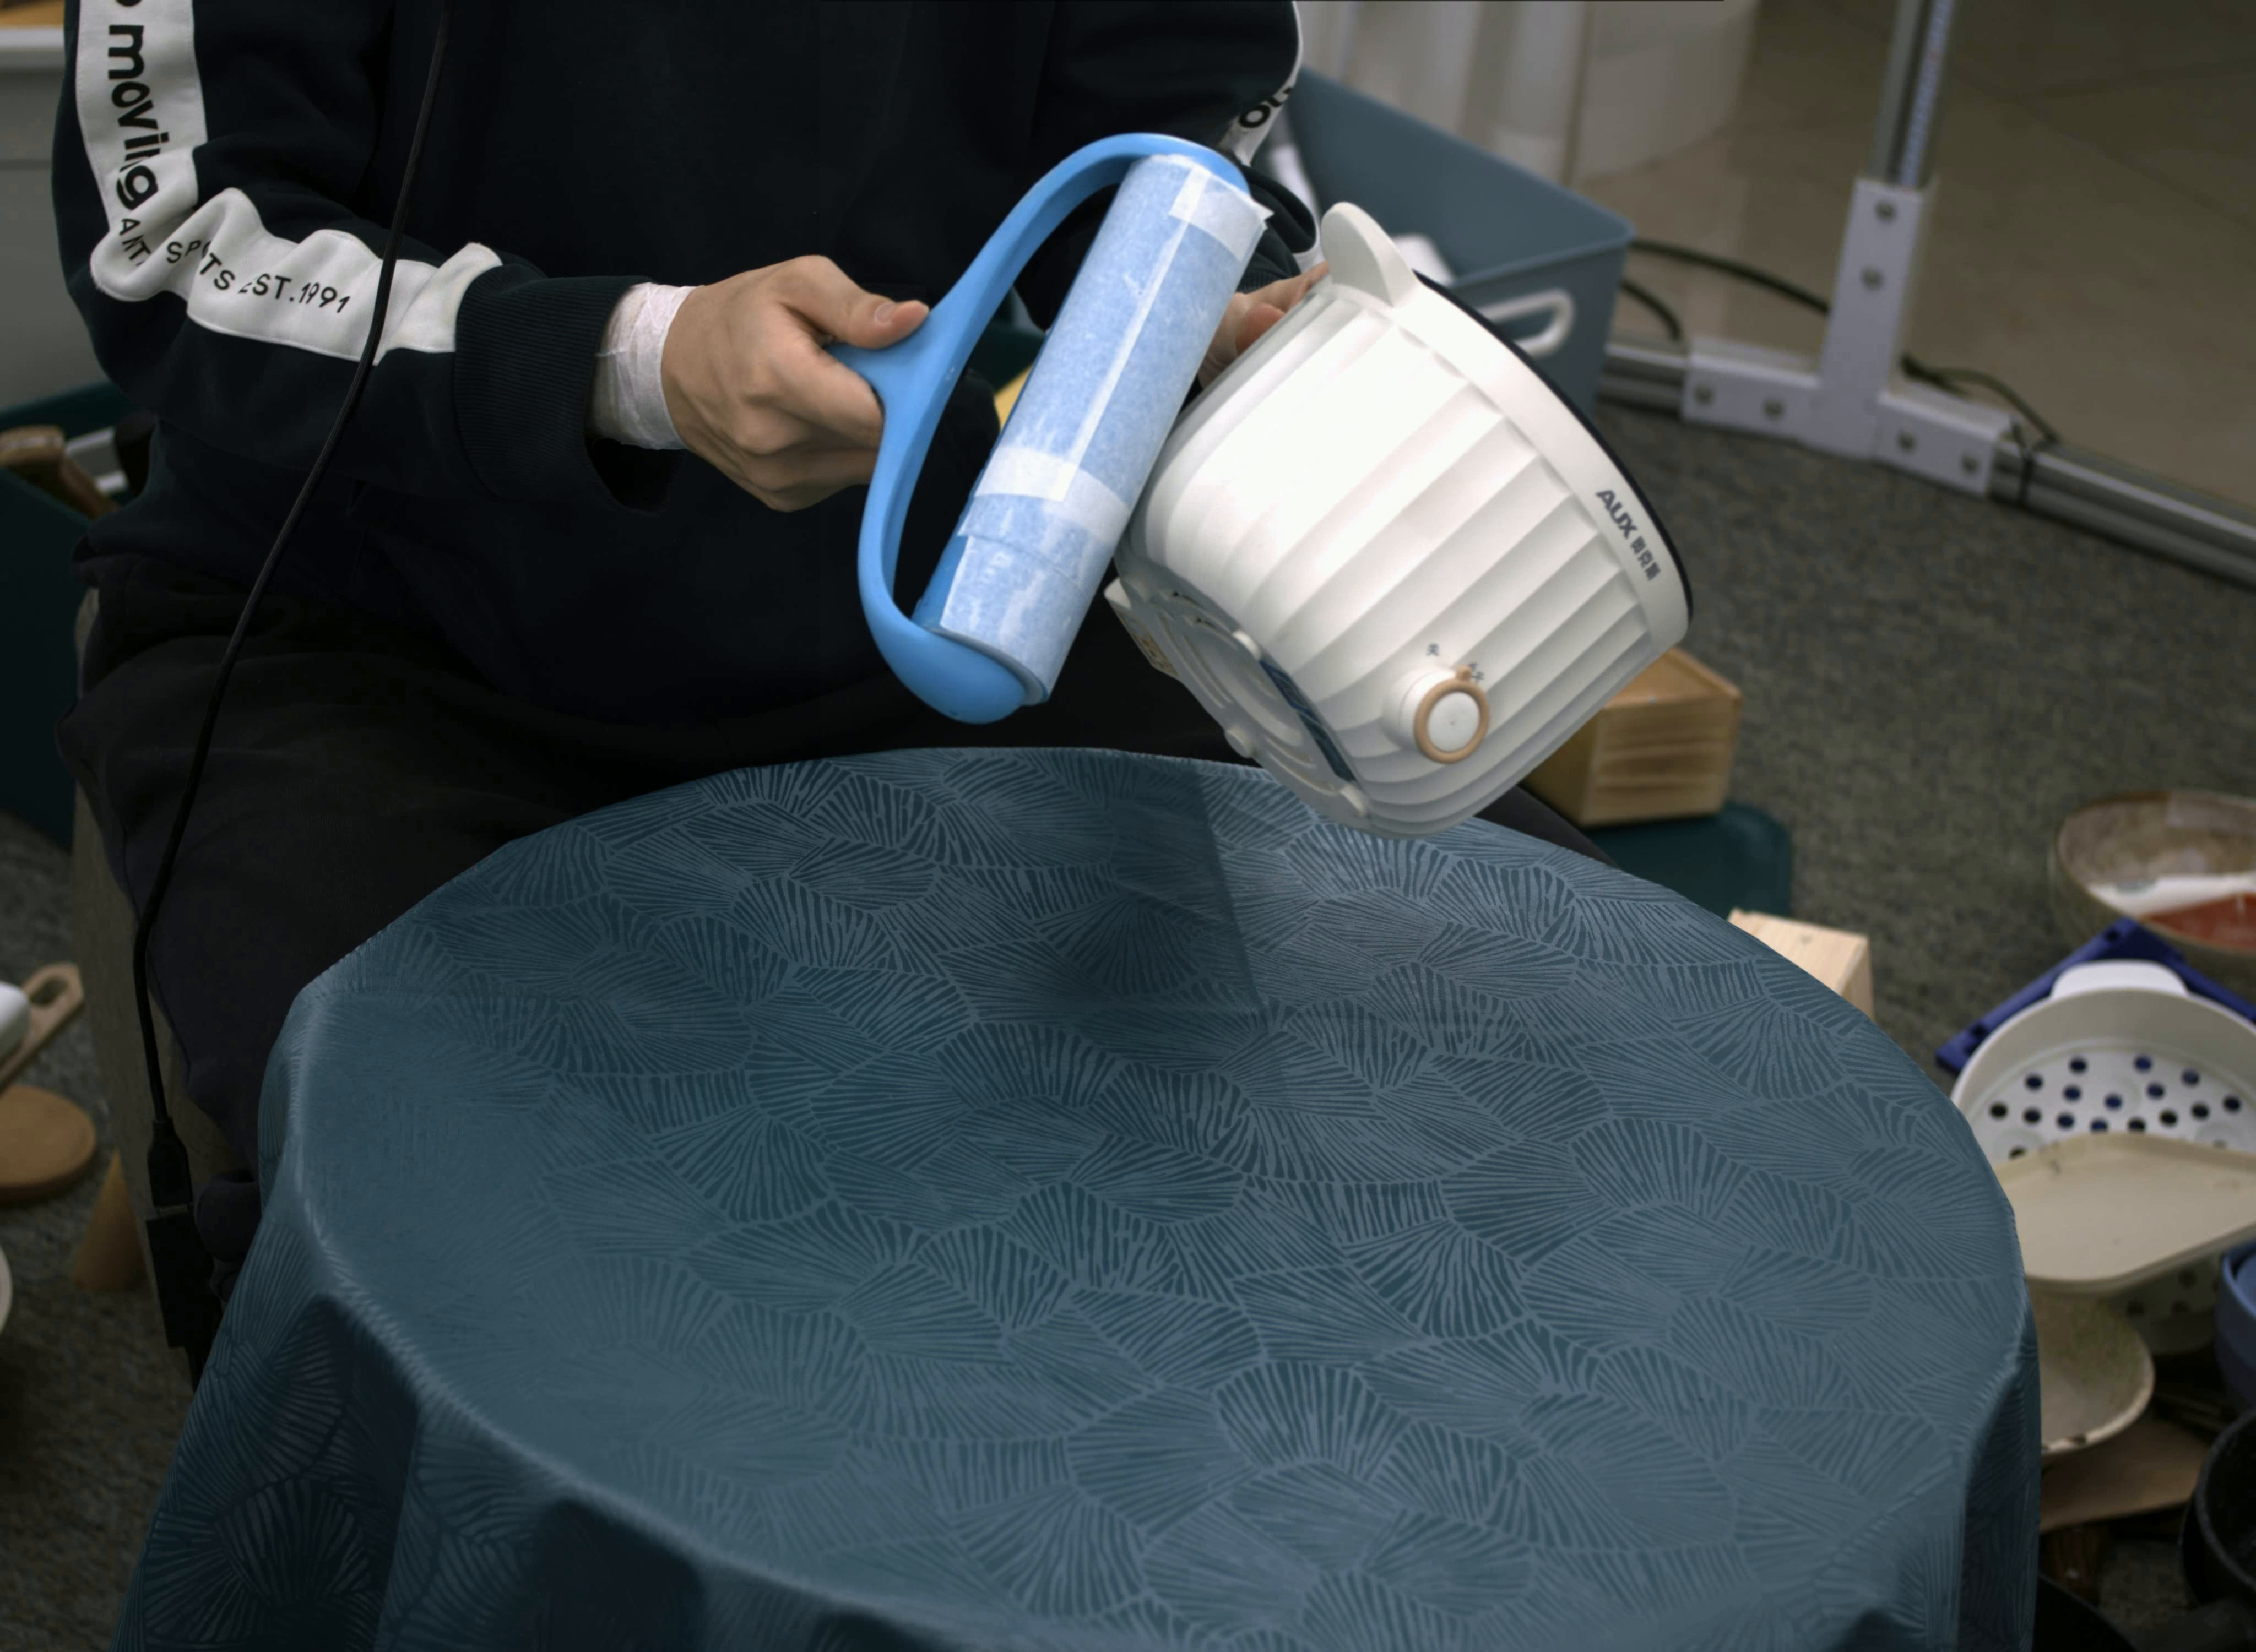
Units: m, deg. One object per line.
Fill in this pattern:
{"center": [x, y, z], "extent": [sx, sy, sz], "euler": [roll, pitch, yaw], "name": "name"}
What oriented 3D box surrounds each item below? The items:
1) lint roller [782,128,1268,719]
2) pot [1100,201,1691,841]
{"center": [-0.062, -0.146, 1.871], "extent": [0.181, 0.067, 0.230], "euler": [8, 66, 33], "name": "lint roller"}
{"center": [0.091, -0.088, 1.878], "extent": [0.142, 0.238, 0.192], "euler": [-45, 34, -14], "name": "pot"}
